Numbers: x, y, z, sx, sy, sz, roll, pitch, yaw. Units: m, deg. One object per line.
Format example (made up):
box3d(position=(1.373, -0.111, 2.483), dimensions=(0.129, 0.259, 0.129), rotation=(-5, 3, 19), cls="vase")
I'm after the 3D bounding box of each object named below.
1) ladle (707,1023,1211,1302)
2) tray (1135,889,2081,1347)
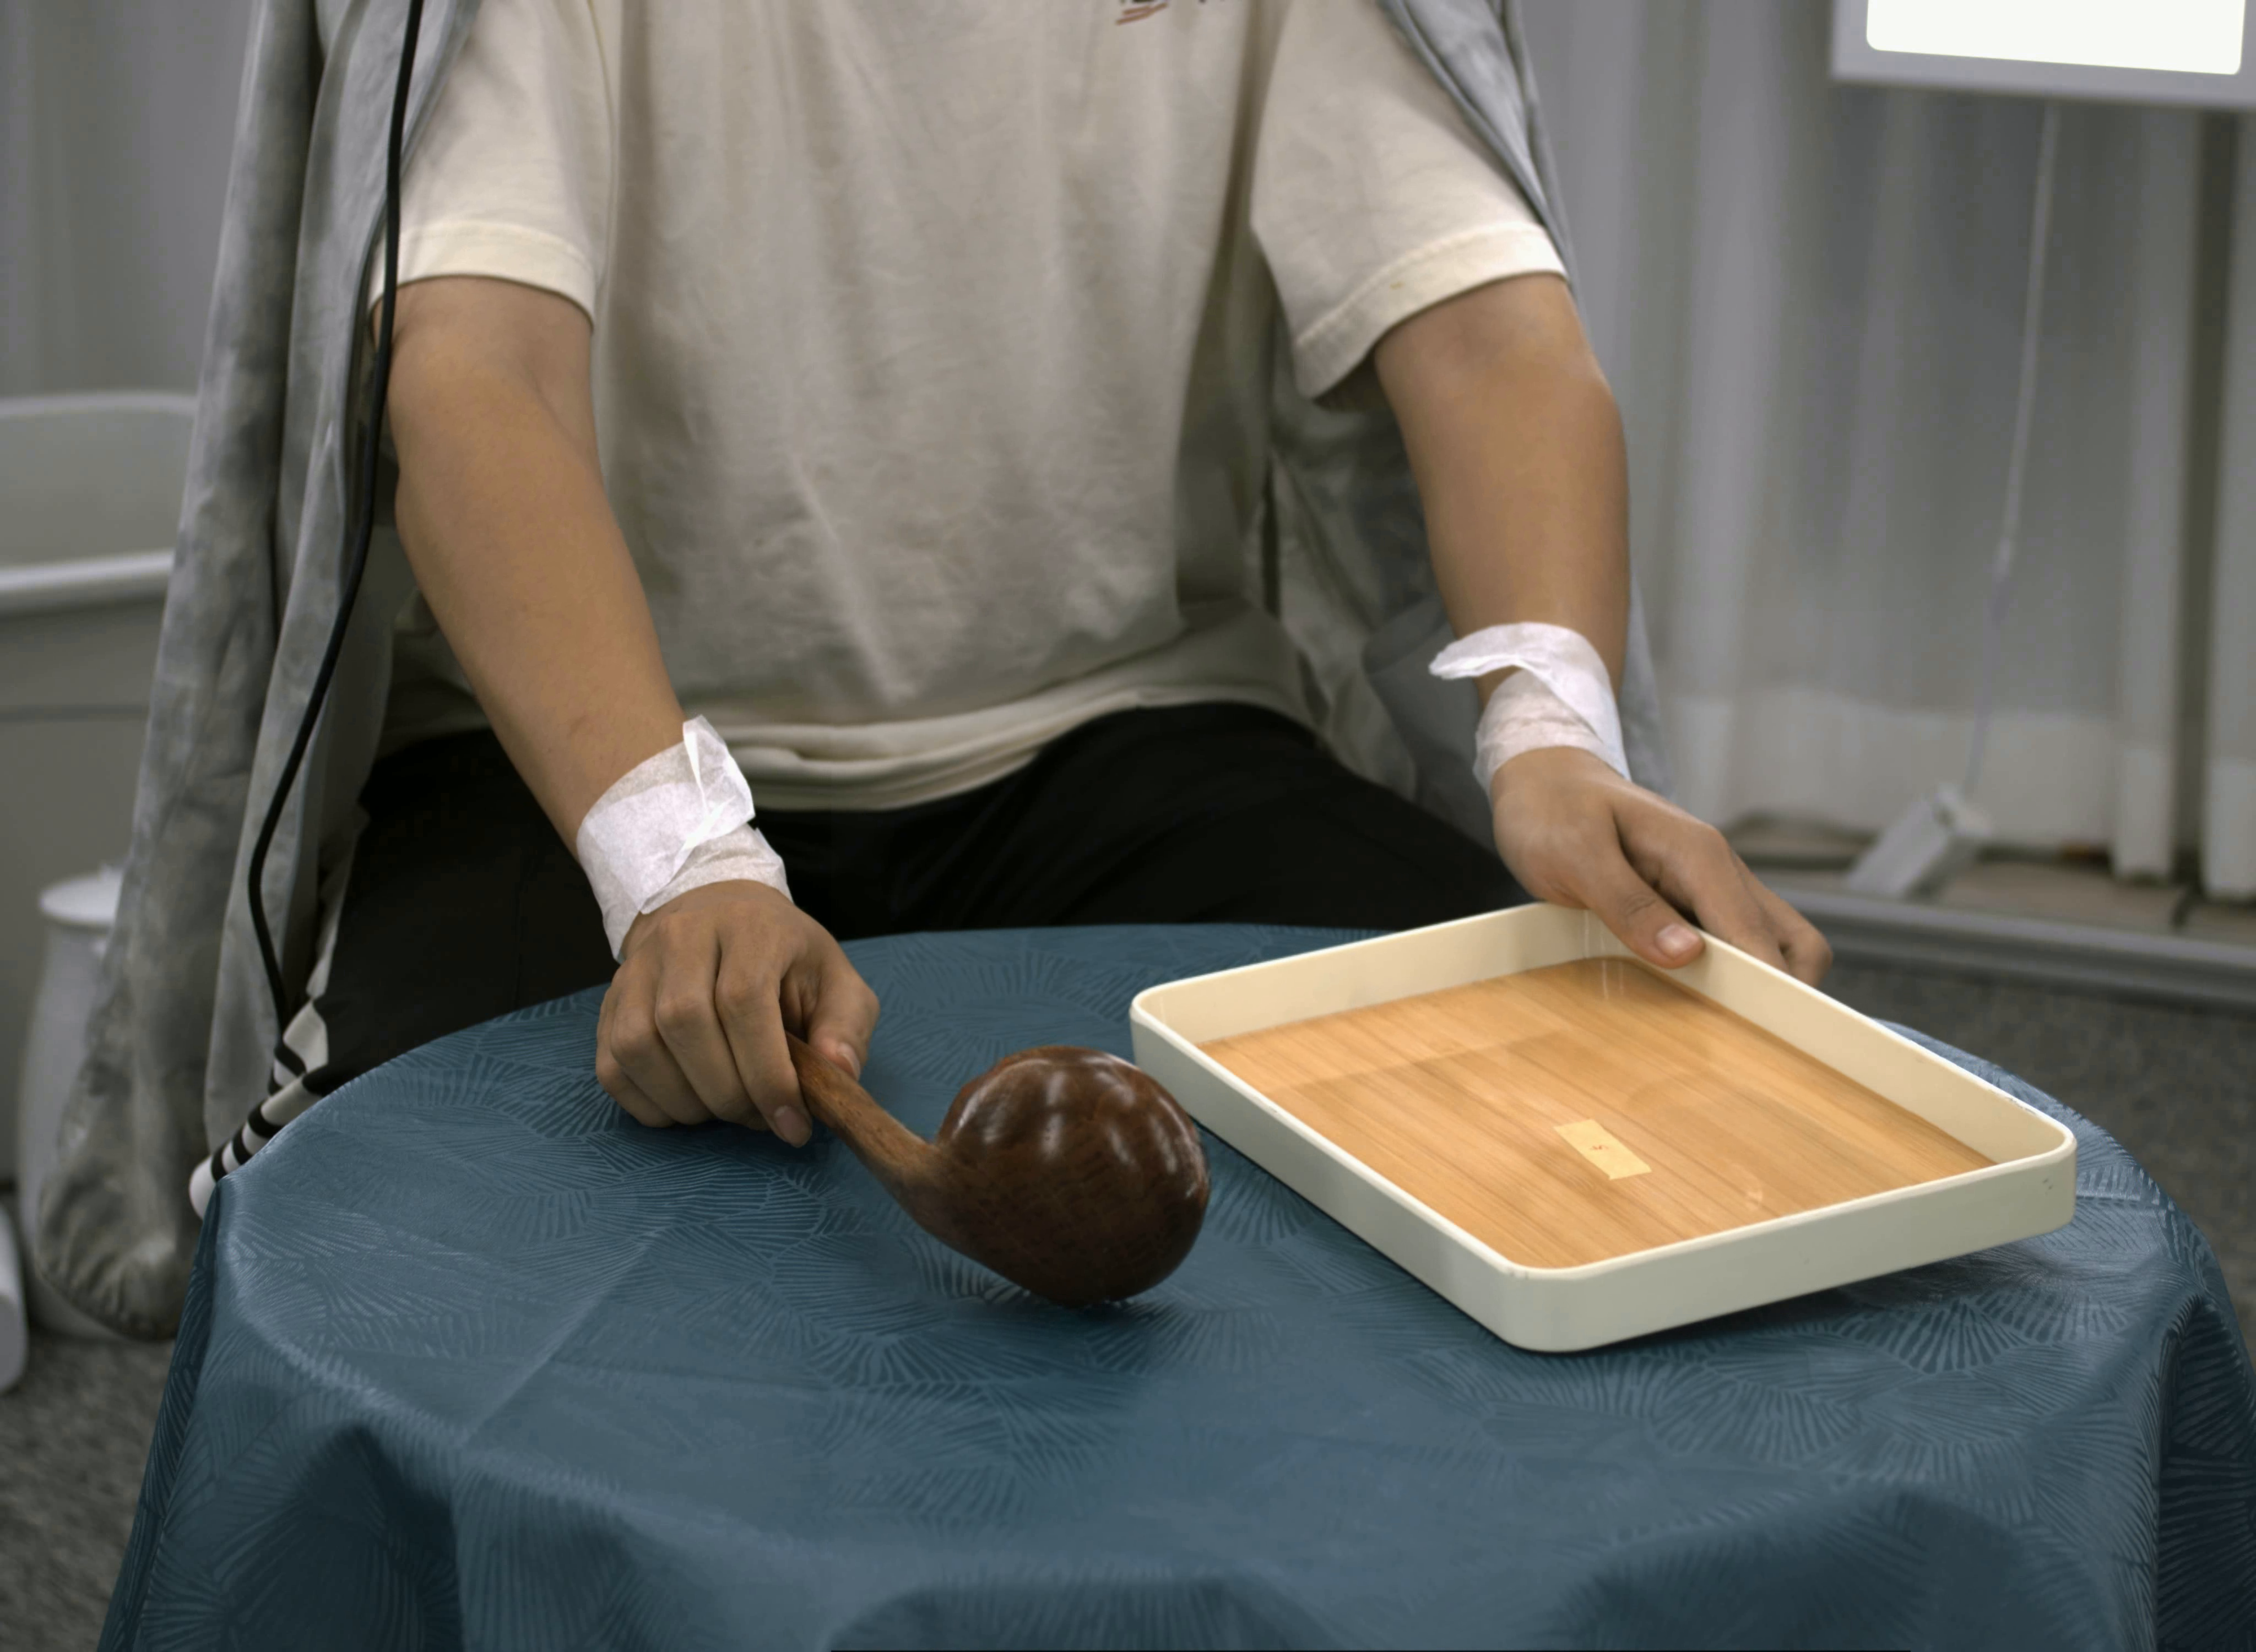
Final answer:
box3d(position=(-0.055, 0.082, 1.610), dimensions=(0.076, 0.082, 0.271), rotation=(-19, 16, -17), cls="ladle")
box3d(position=(0.142, 0.086, 1.645), dimensions=(0.192, 0.027, 0.297), rotation=(-12, 19, -21), cls="tray")
